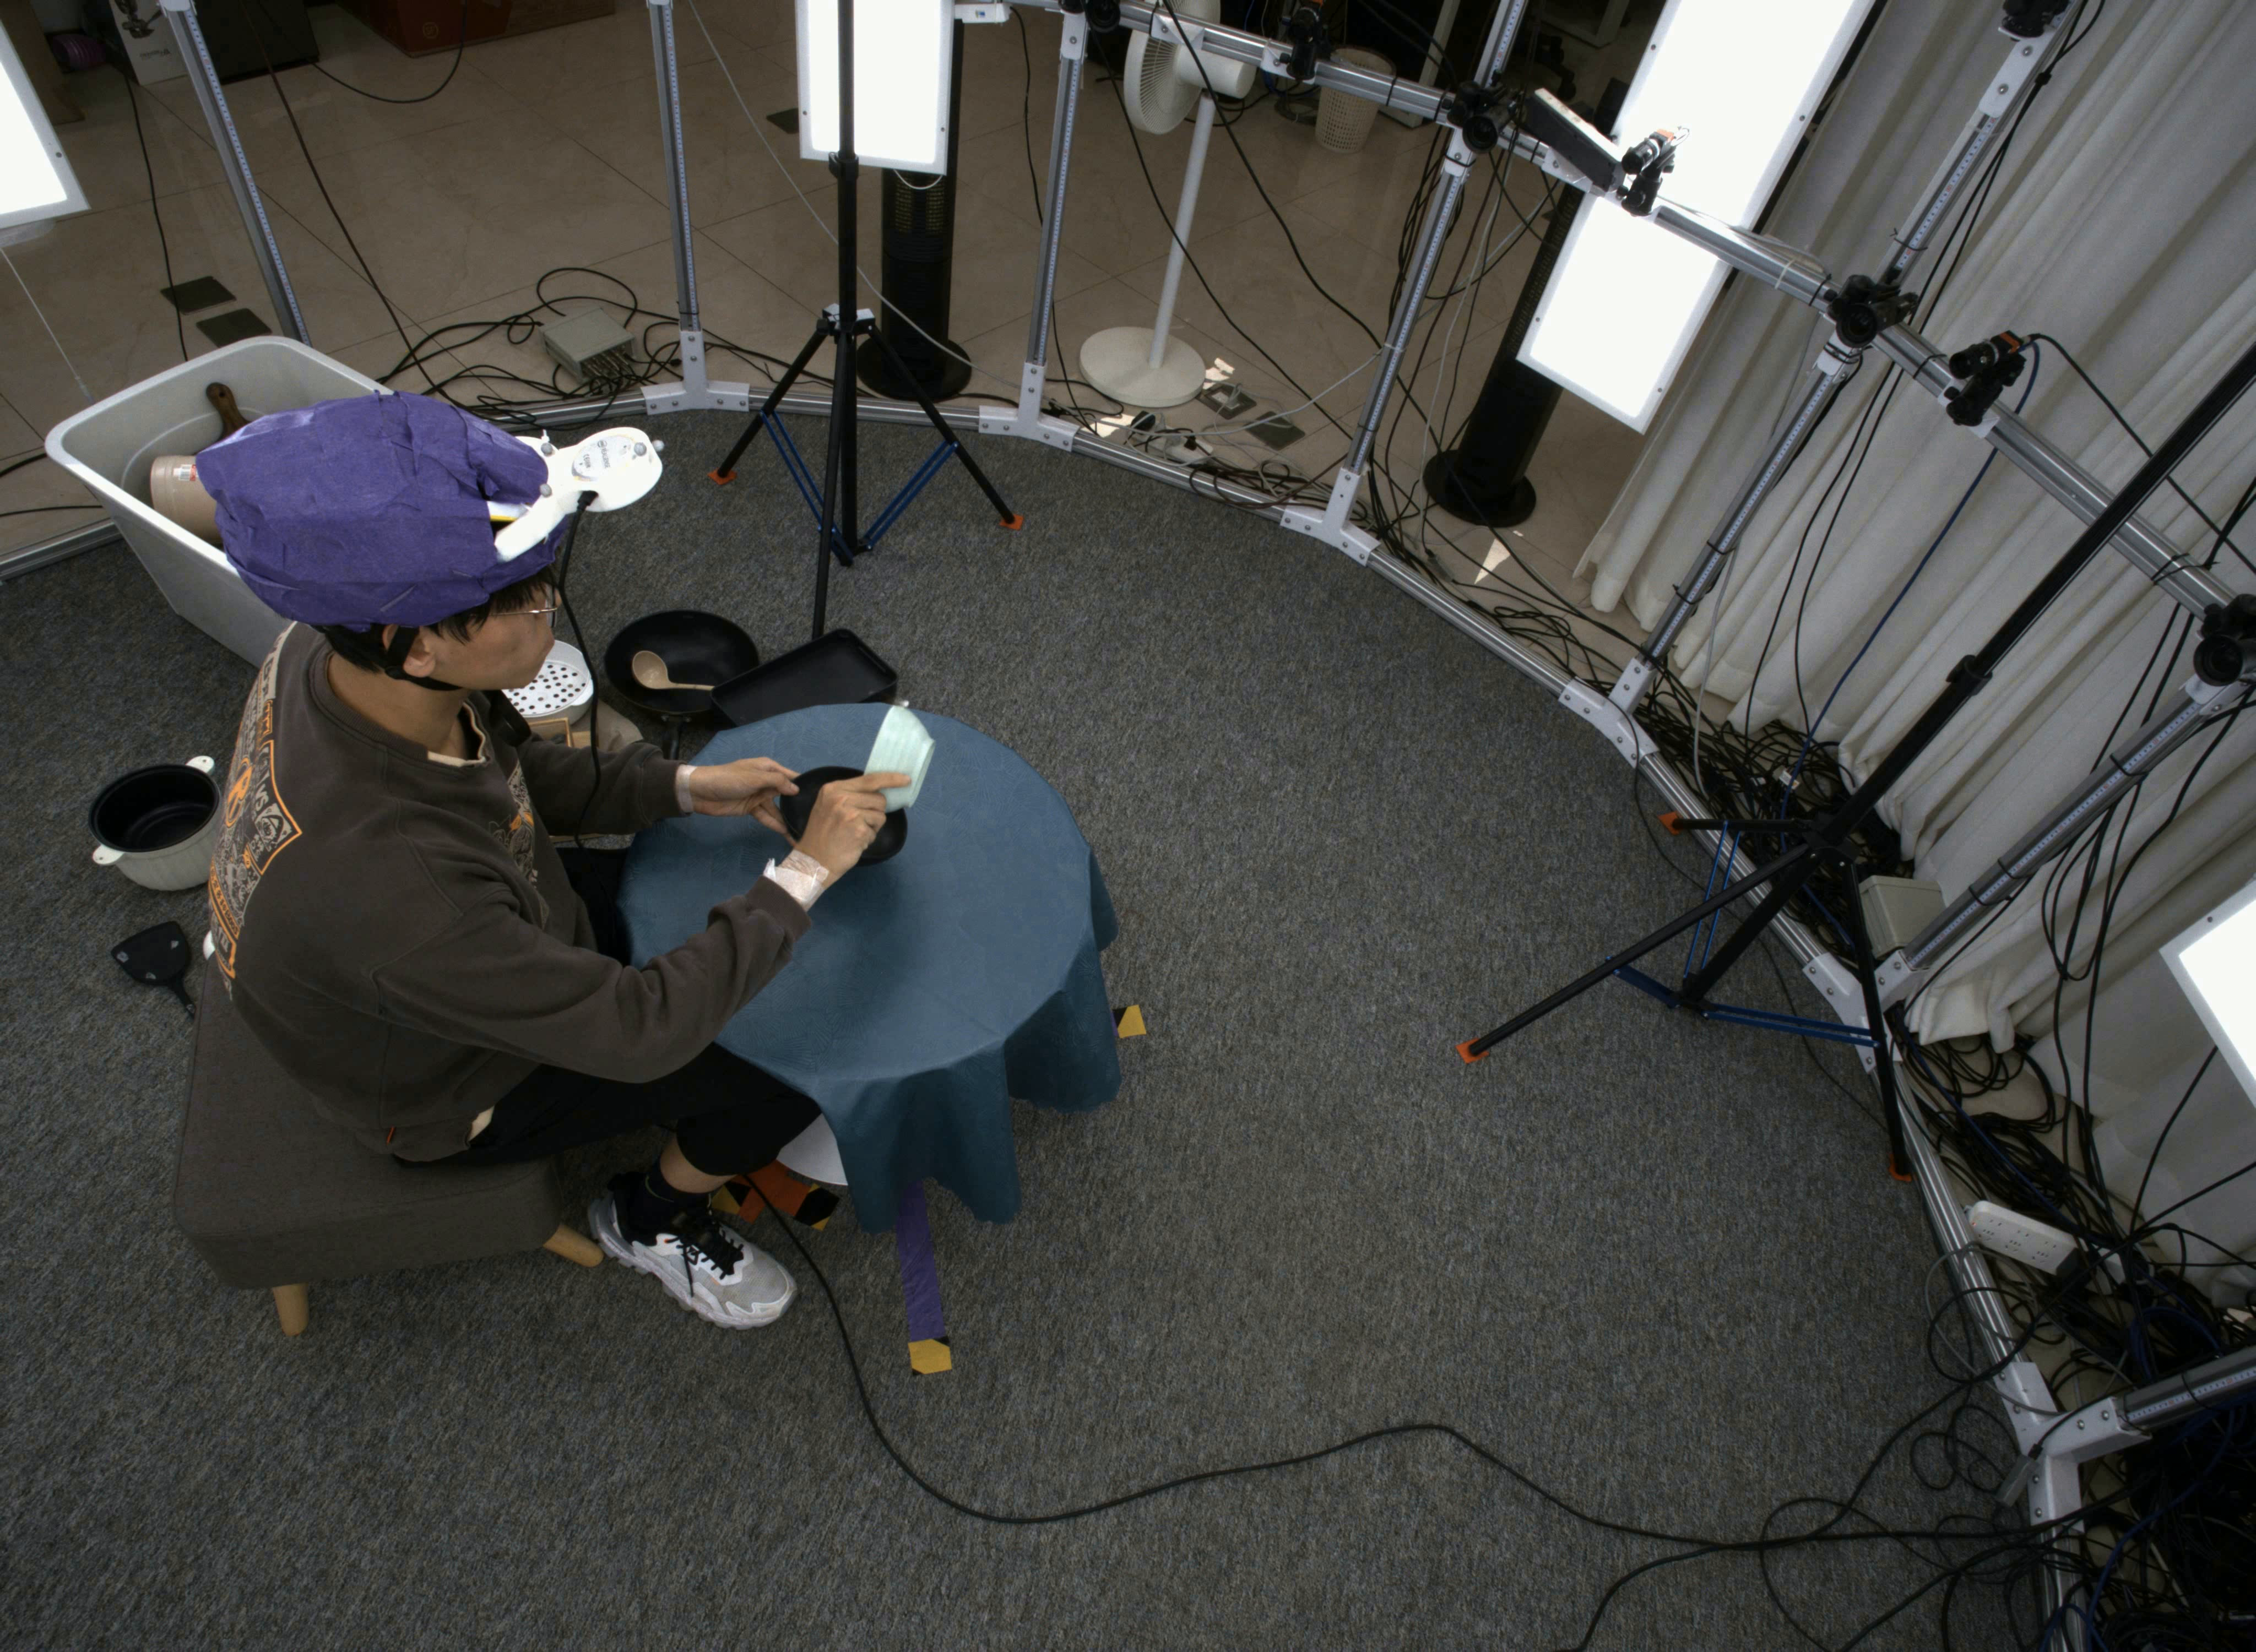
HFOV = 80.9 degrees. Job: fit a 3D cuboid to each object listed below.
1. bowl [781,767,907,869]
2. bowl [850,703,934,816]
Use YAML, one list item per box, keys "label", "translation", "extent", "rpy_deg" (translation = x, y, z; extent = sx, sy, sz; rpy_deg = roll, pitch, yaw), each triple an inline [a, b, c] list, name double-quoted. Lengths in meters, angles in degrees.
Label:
- label: "bowl"
  translation: [-0.365, -0.001, 1.673]
  extent: [0.168, 0.068, 0.136]
  rpy_deg: [27, 51, 3]
- label: "bowl"
  translation: [-0.275, -0.071, 1.544]
  extent: [0.058, 0.153, 0.150]
  rpy_deg: [21, 51, -3]
